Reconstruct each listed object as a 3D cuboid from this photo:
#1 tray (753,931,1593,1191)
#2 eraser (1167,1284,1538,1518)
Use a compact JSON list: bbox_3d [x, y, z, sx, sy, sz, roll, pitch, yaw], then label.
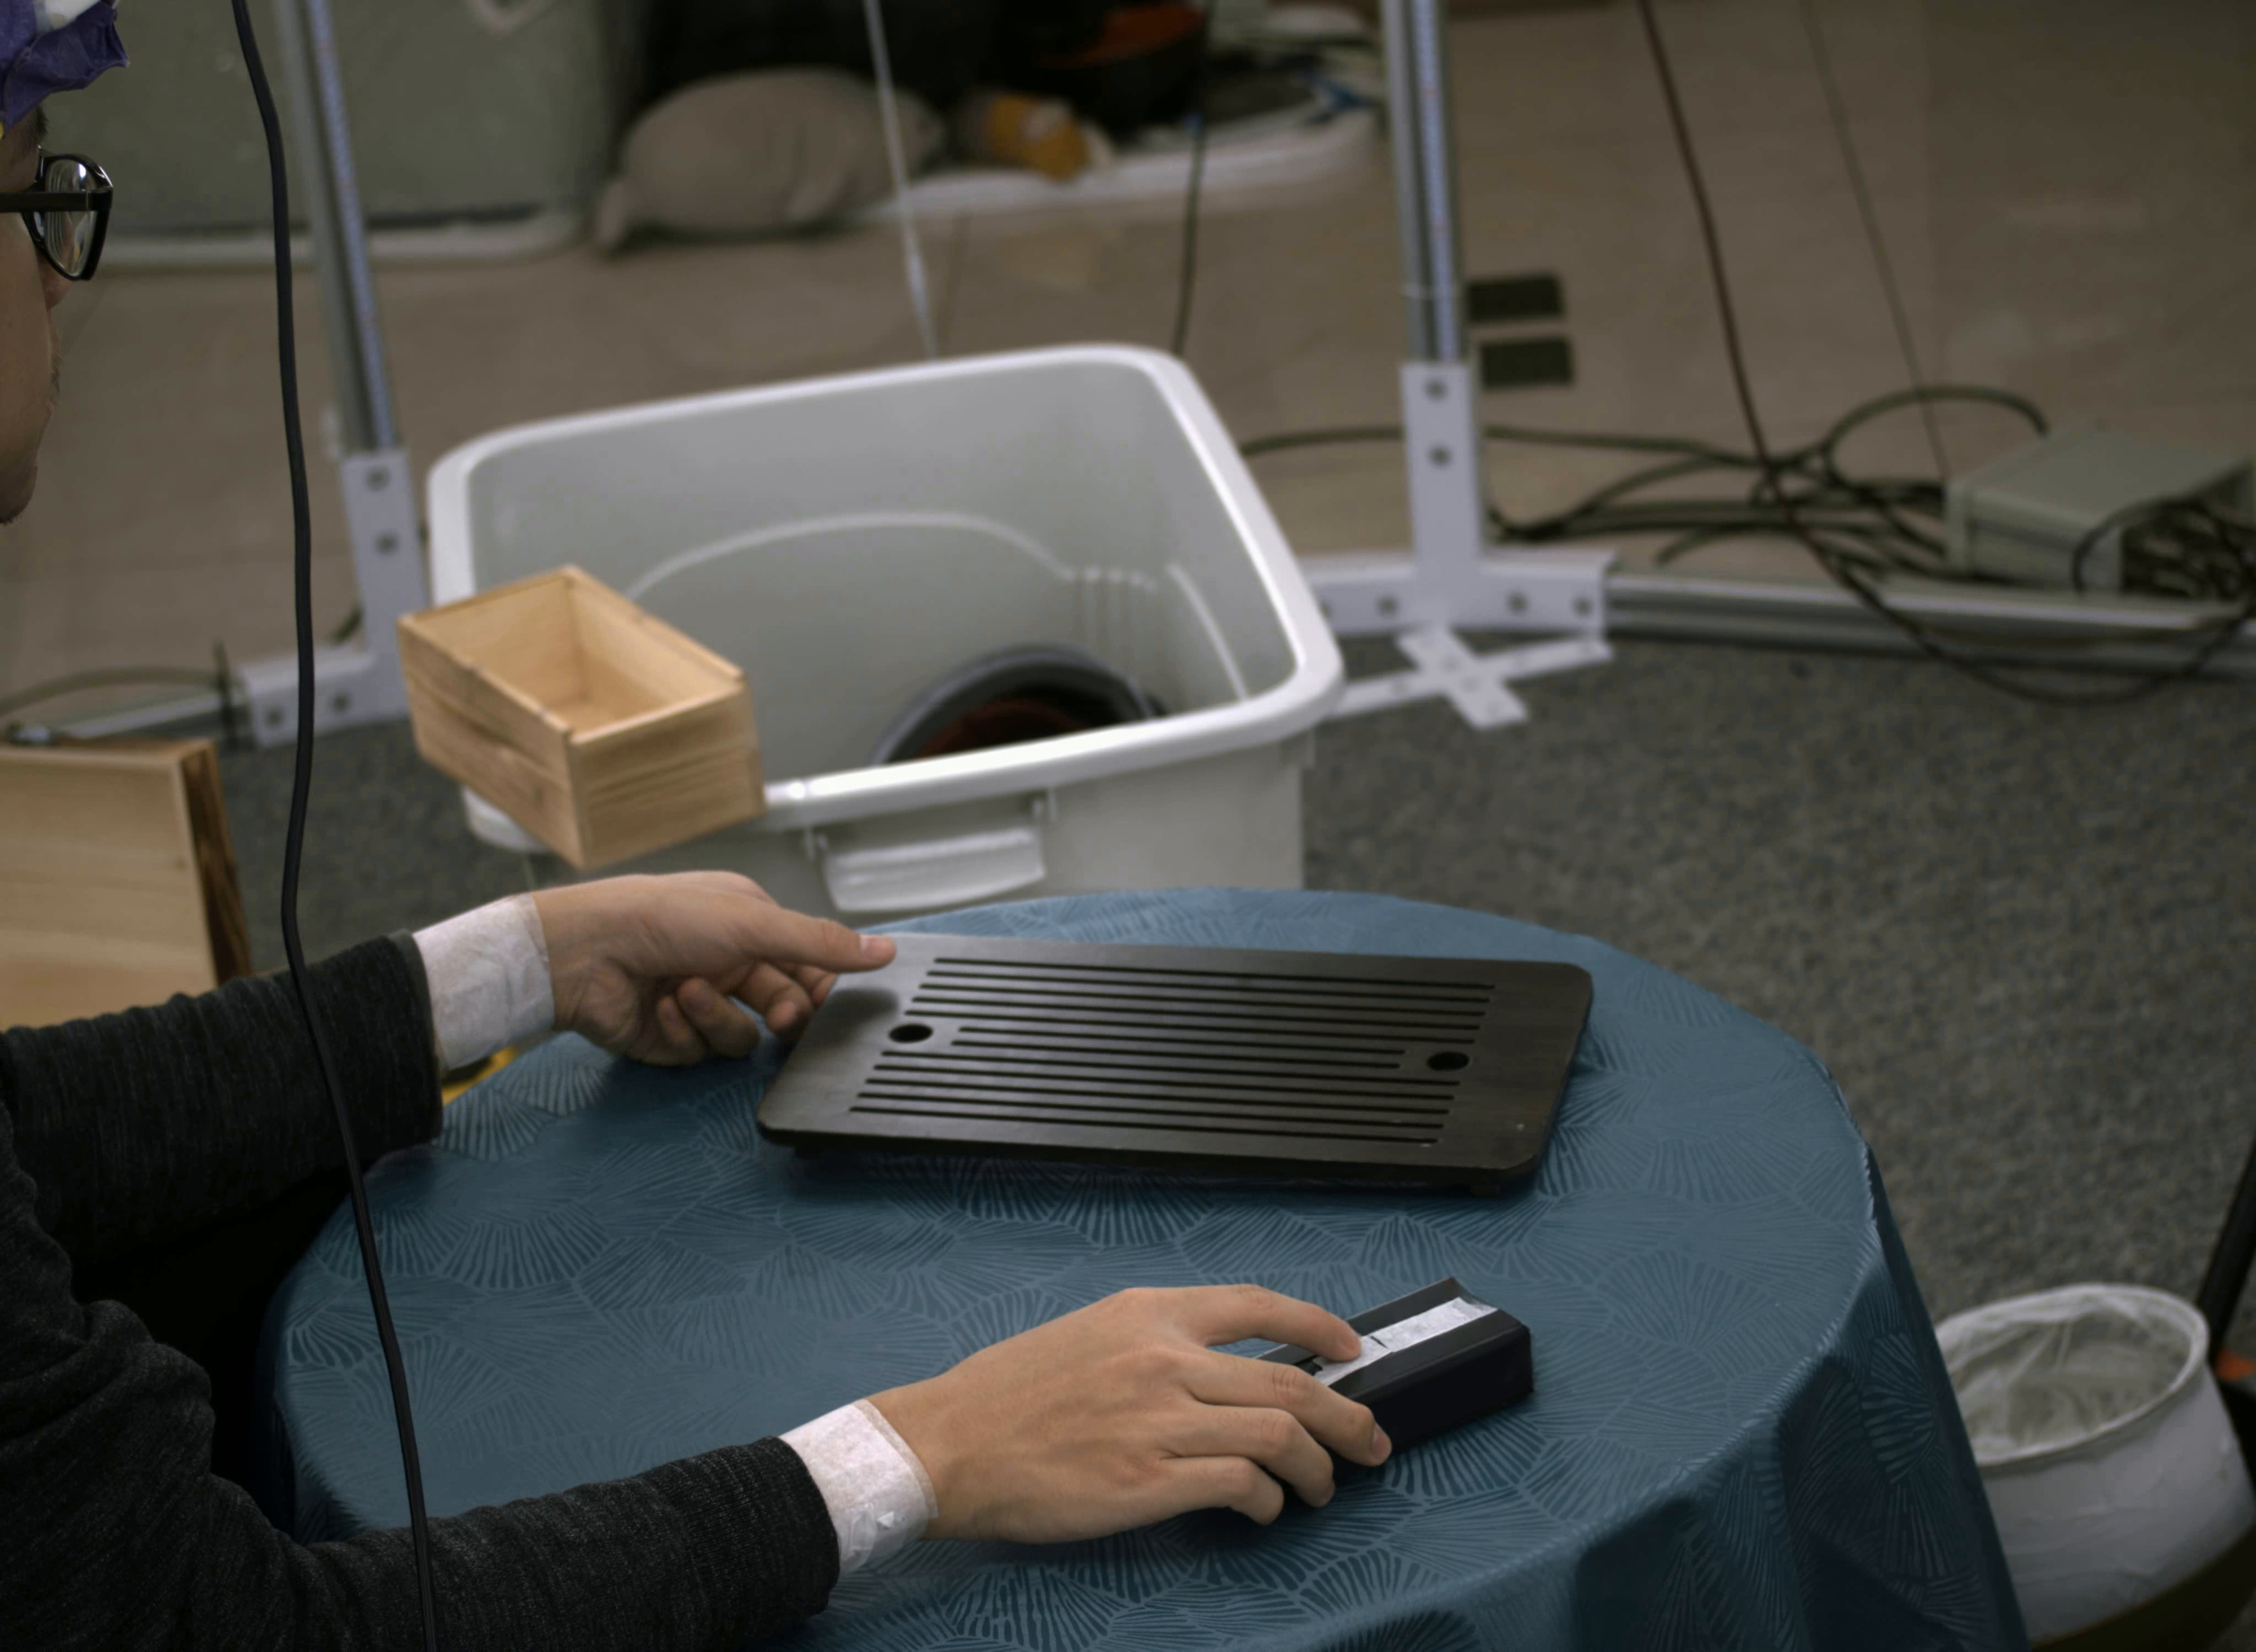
[{"bbox_3d":[0.020,0.091,2.214,0.305,0.019,0.167,2,27,14],"label":"tray"},{"bbox_3d":[0.079,0.198,1.969,0.125,0.031,0.053,-21,27,-27],"label":"eraser"}]
